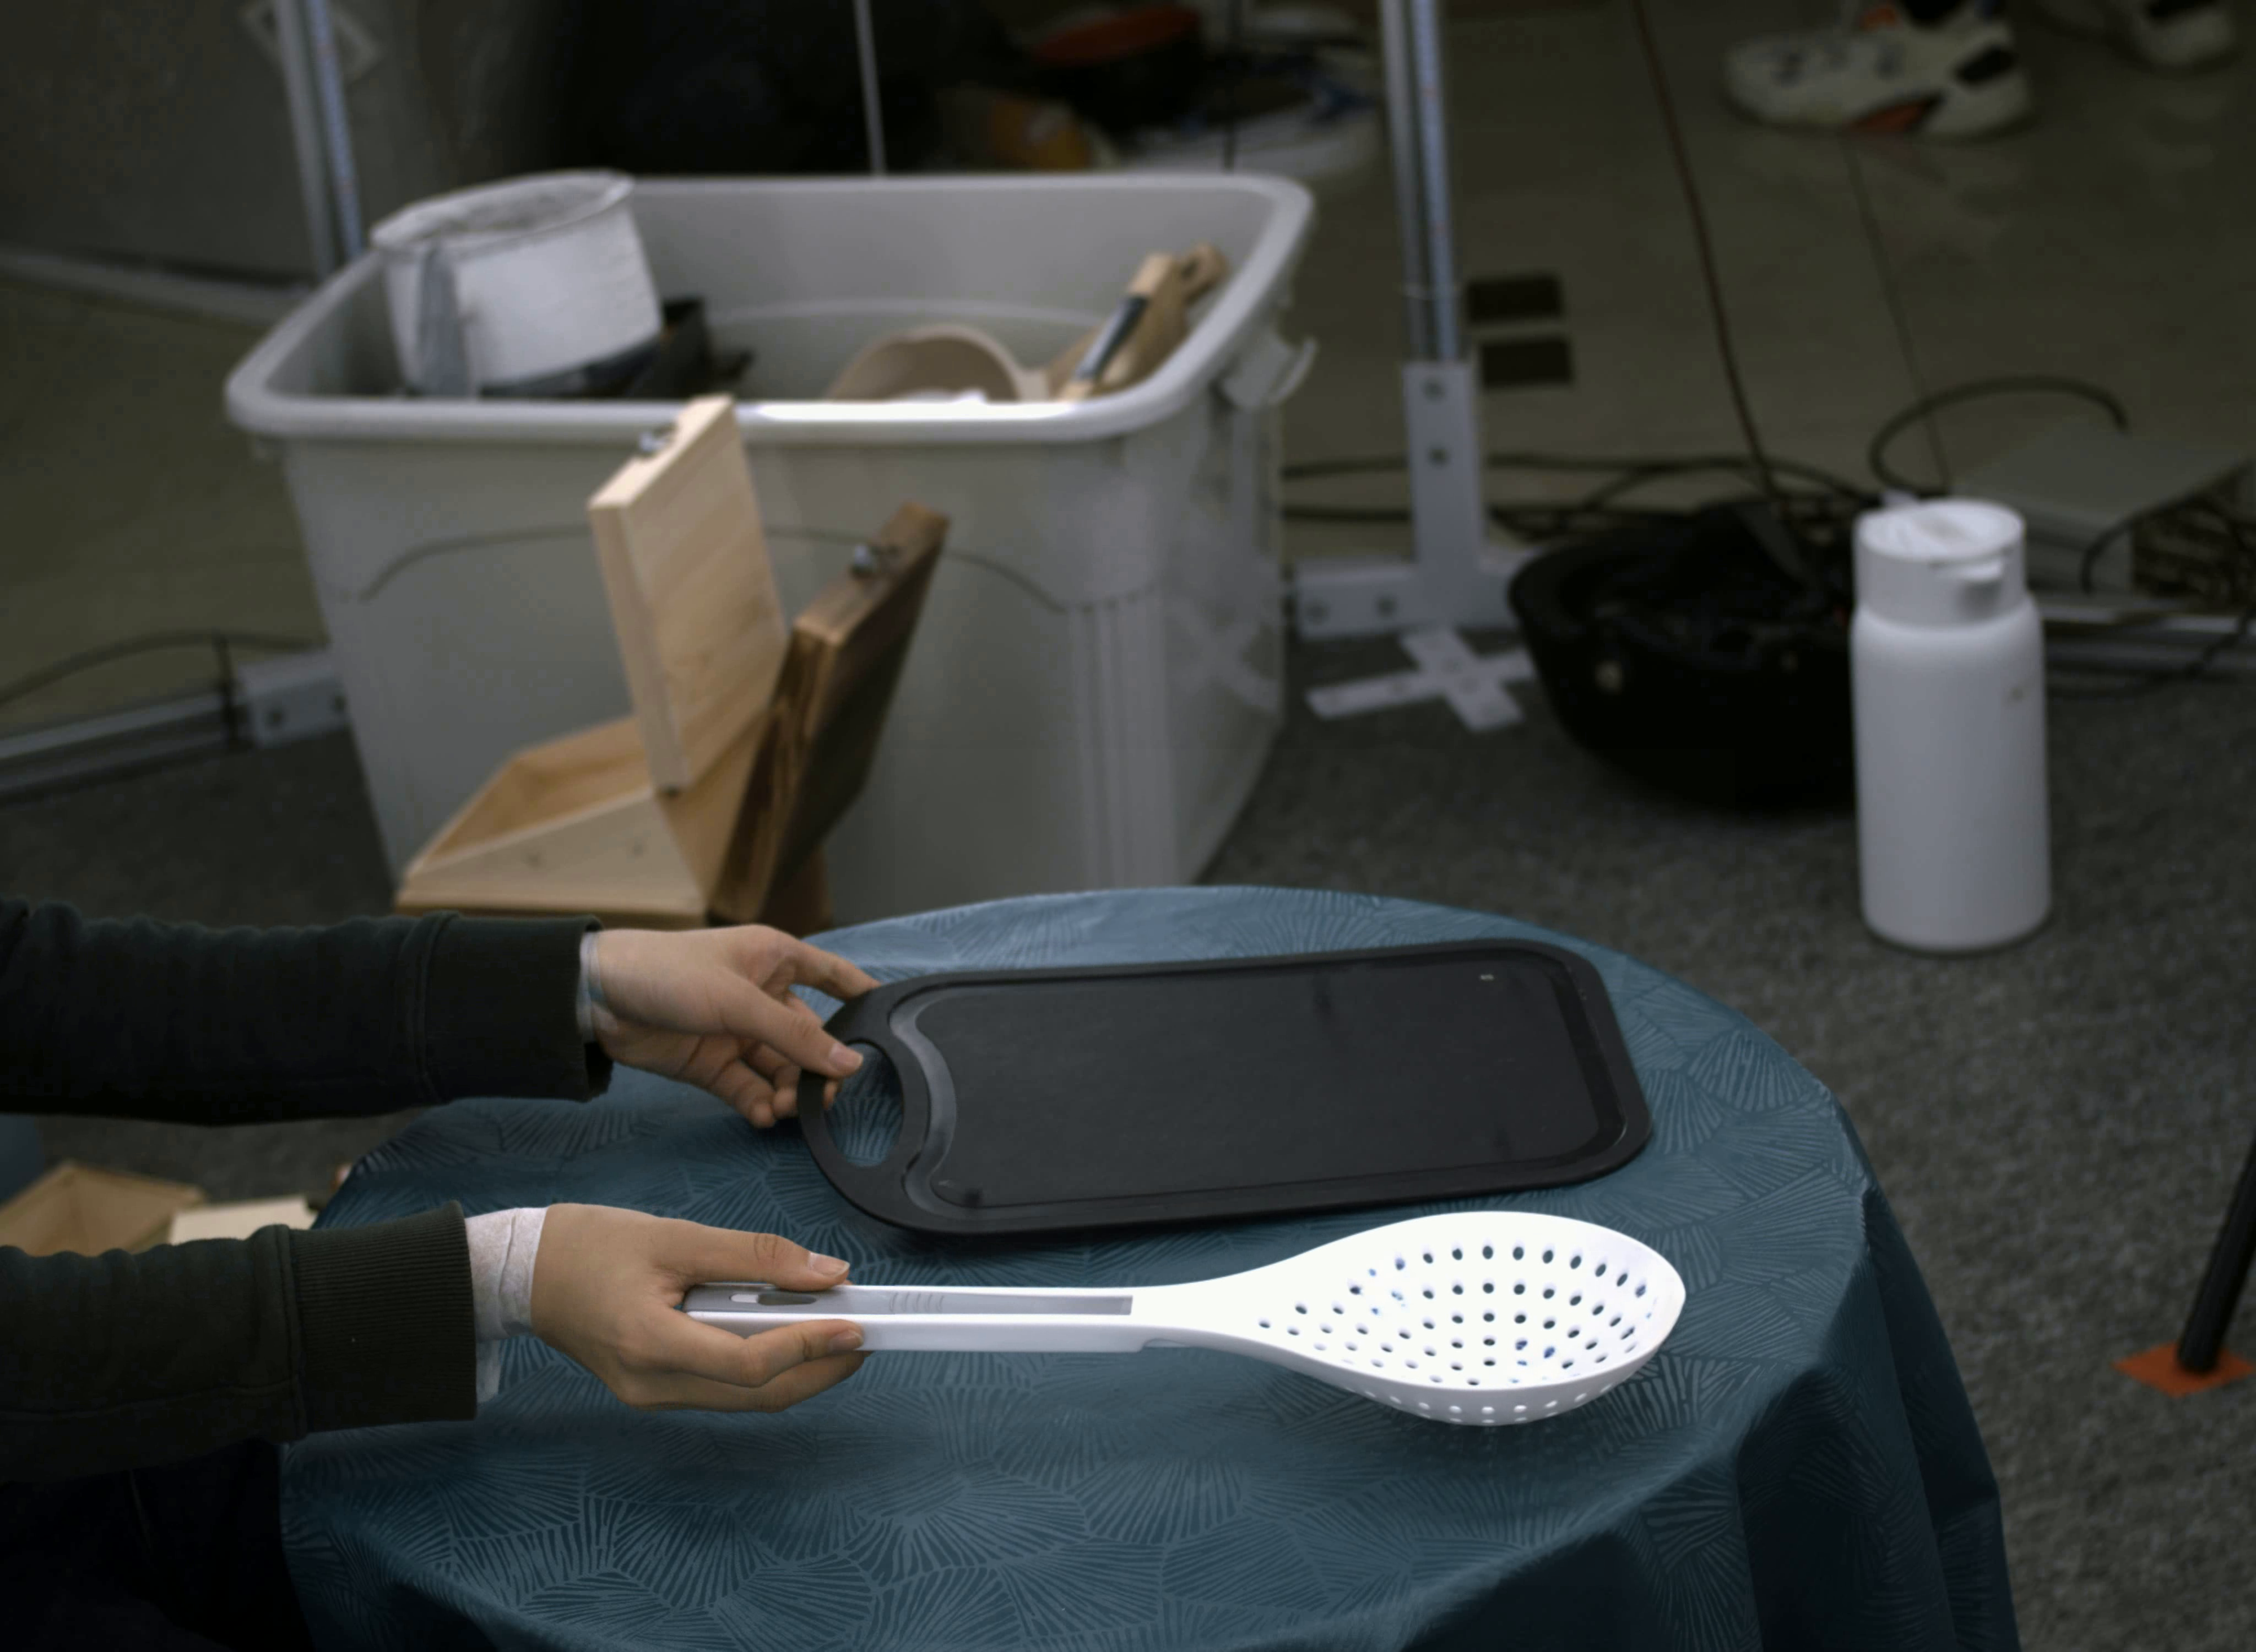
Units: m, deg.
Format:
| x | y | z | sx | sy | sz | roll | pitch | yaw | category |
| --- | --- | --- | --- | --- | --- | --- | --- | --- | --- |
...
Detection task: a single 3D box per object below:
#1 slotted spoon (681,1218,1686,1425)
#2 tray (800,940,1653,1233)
| x | y | z | sx | sy | sz | roll | pitch | yaw | category |
| --- | --- | --- | --- | --- | --- | --- | --- | --- | --- |
| 0.018 | 0.172 | 1.982 | 0.349 | 0.046 | 0.134 | 4 | 21 | 2 | slotted spoon |
| 0.035 | 0.099 | 2.206 | 0.325 | 0.010 | 0.208 | -5 | 25 | -2 | tray |
